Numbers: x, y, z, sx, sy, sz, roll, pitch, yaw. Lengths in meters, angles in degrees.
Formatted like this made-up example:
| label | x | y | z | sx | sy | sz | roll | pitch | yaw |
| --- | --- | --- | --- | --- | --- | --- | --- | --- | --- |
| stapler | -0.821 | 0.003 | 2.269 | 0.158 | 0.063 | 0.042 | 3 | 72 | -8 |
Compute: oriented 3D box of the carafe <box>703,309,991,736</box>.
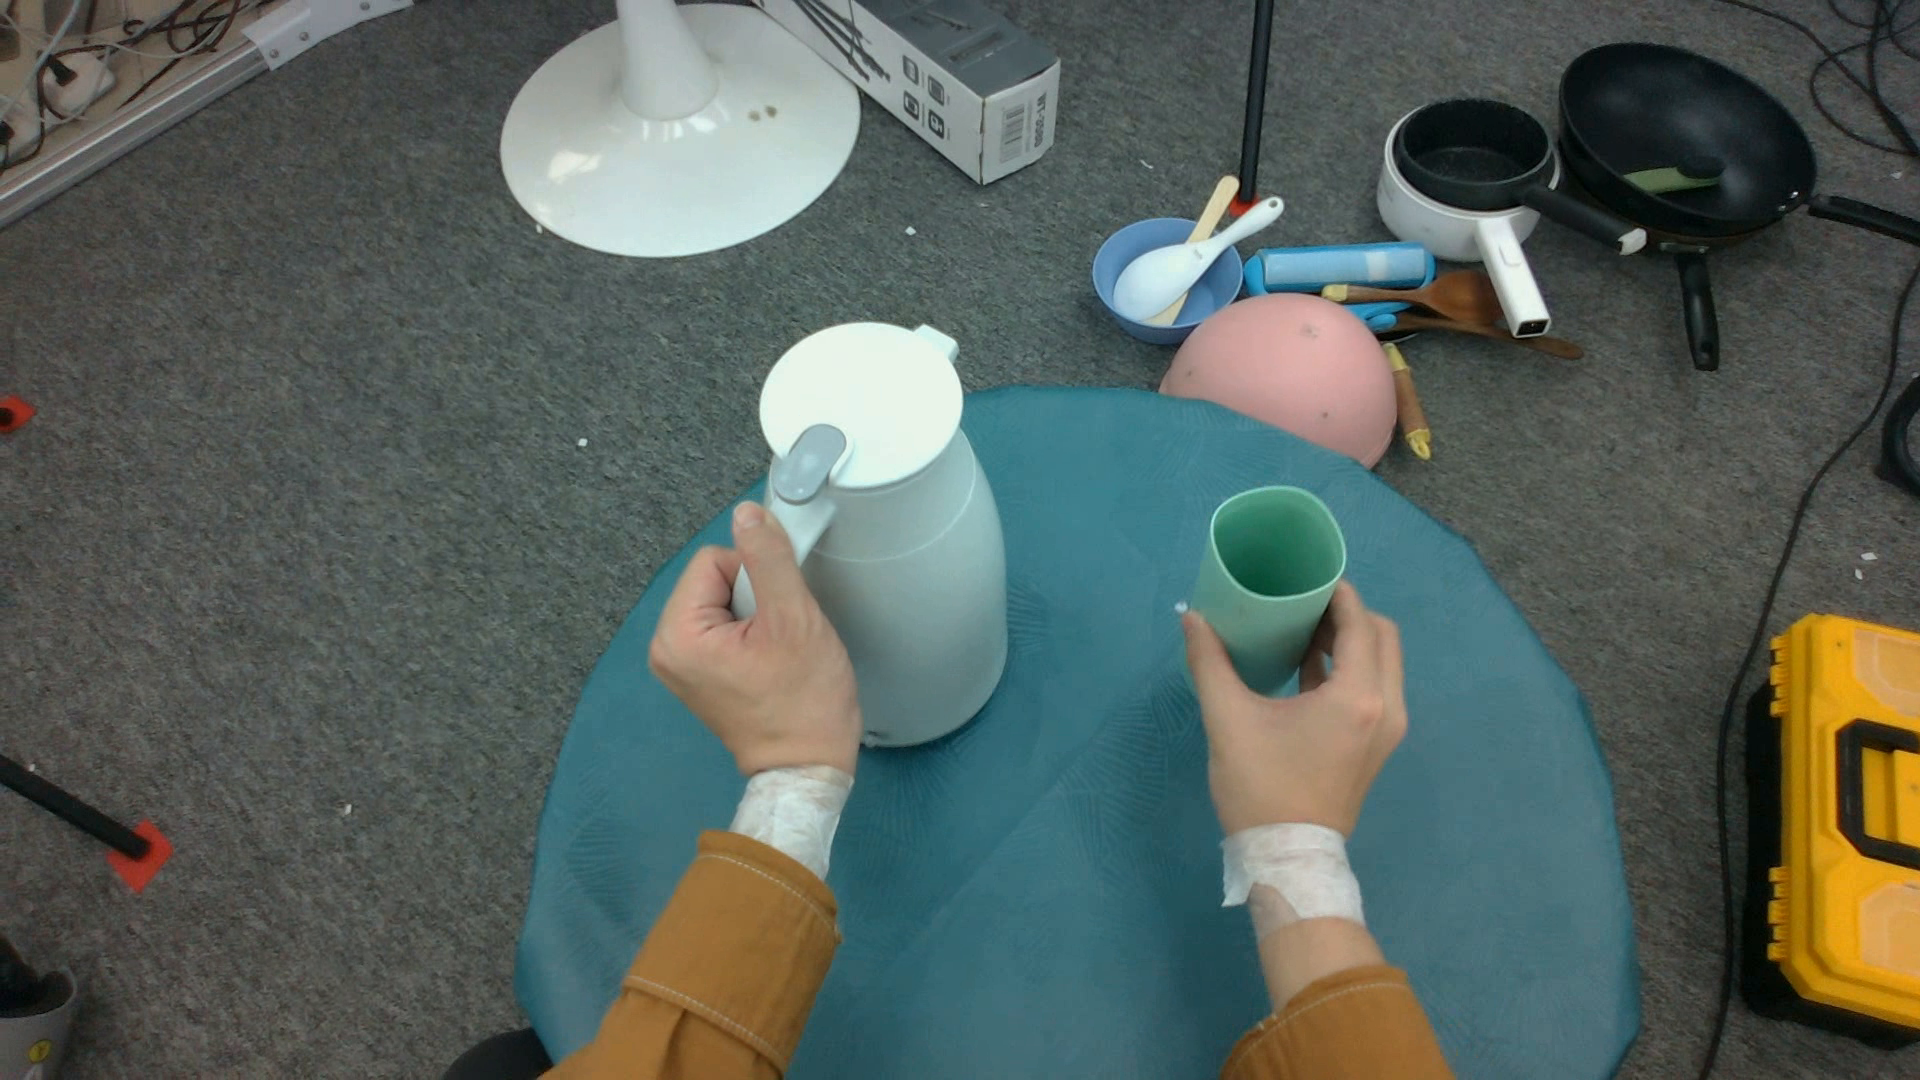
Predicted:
| label | x | y | z | sx | sy | sz | roll | pitch | yaw |
| --- | --- | --- | --- | --- | --- | --- | --- | --- | --- |
| carafe | -0.062 | 0.006 | 0.707 | 0.132 | 0.247 | 0.168 | 29 | 64 | 18 |

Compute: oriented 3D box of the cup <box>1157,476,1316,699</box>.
| label | x | y | z | sx | sy | sz | roll | pitch | yaw |
| --- | --- | --- | --- | --- | --- | --- | --- | --- | --- |
| cup | 0.142 | 0.030 | 0.723 | 0.067 | 0.132 | 0.067 | 0 | 58 | 0 |
